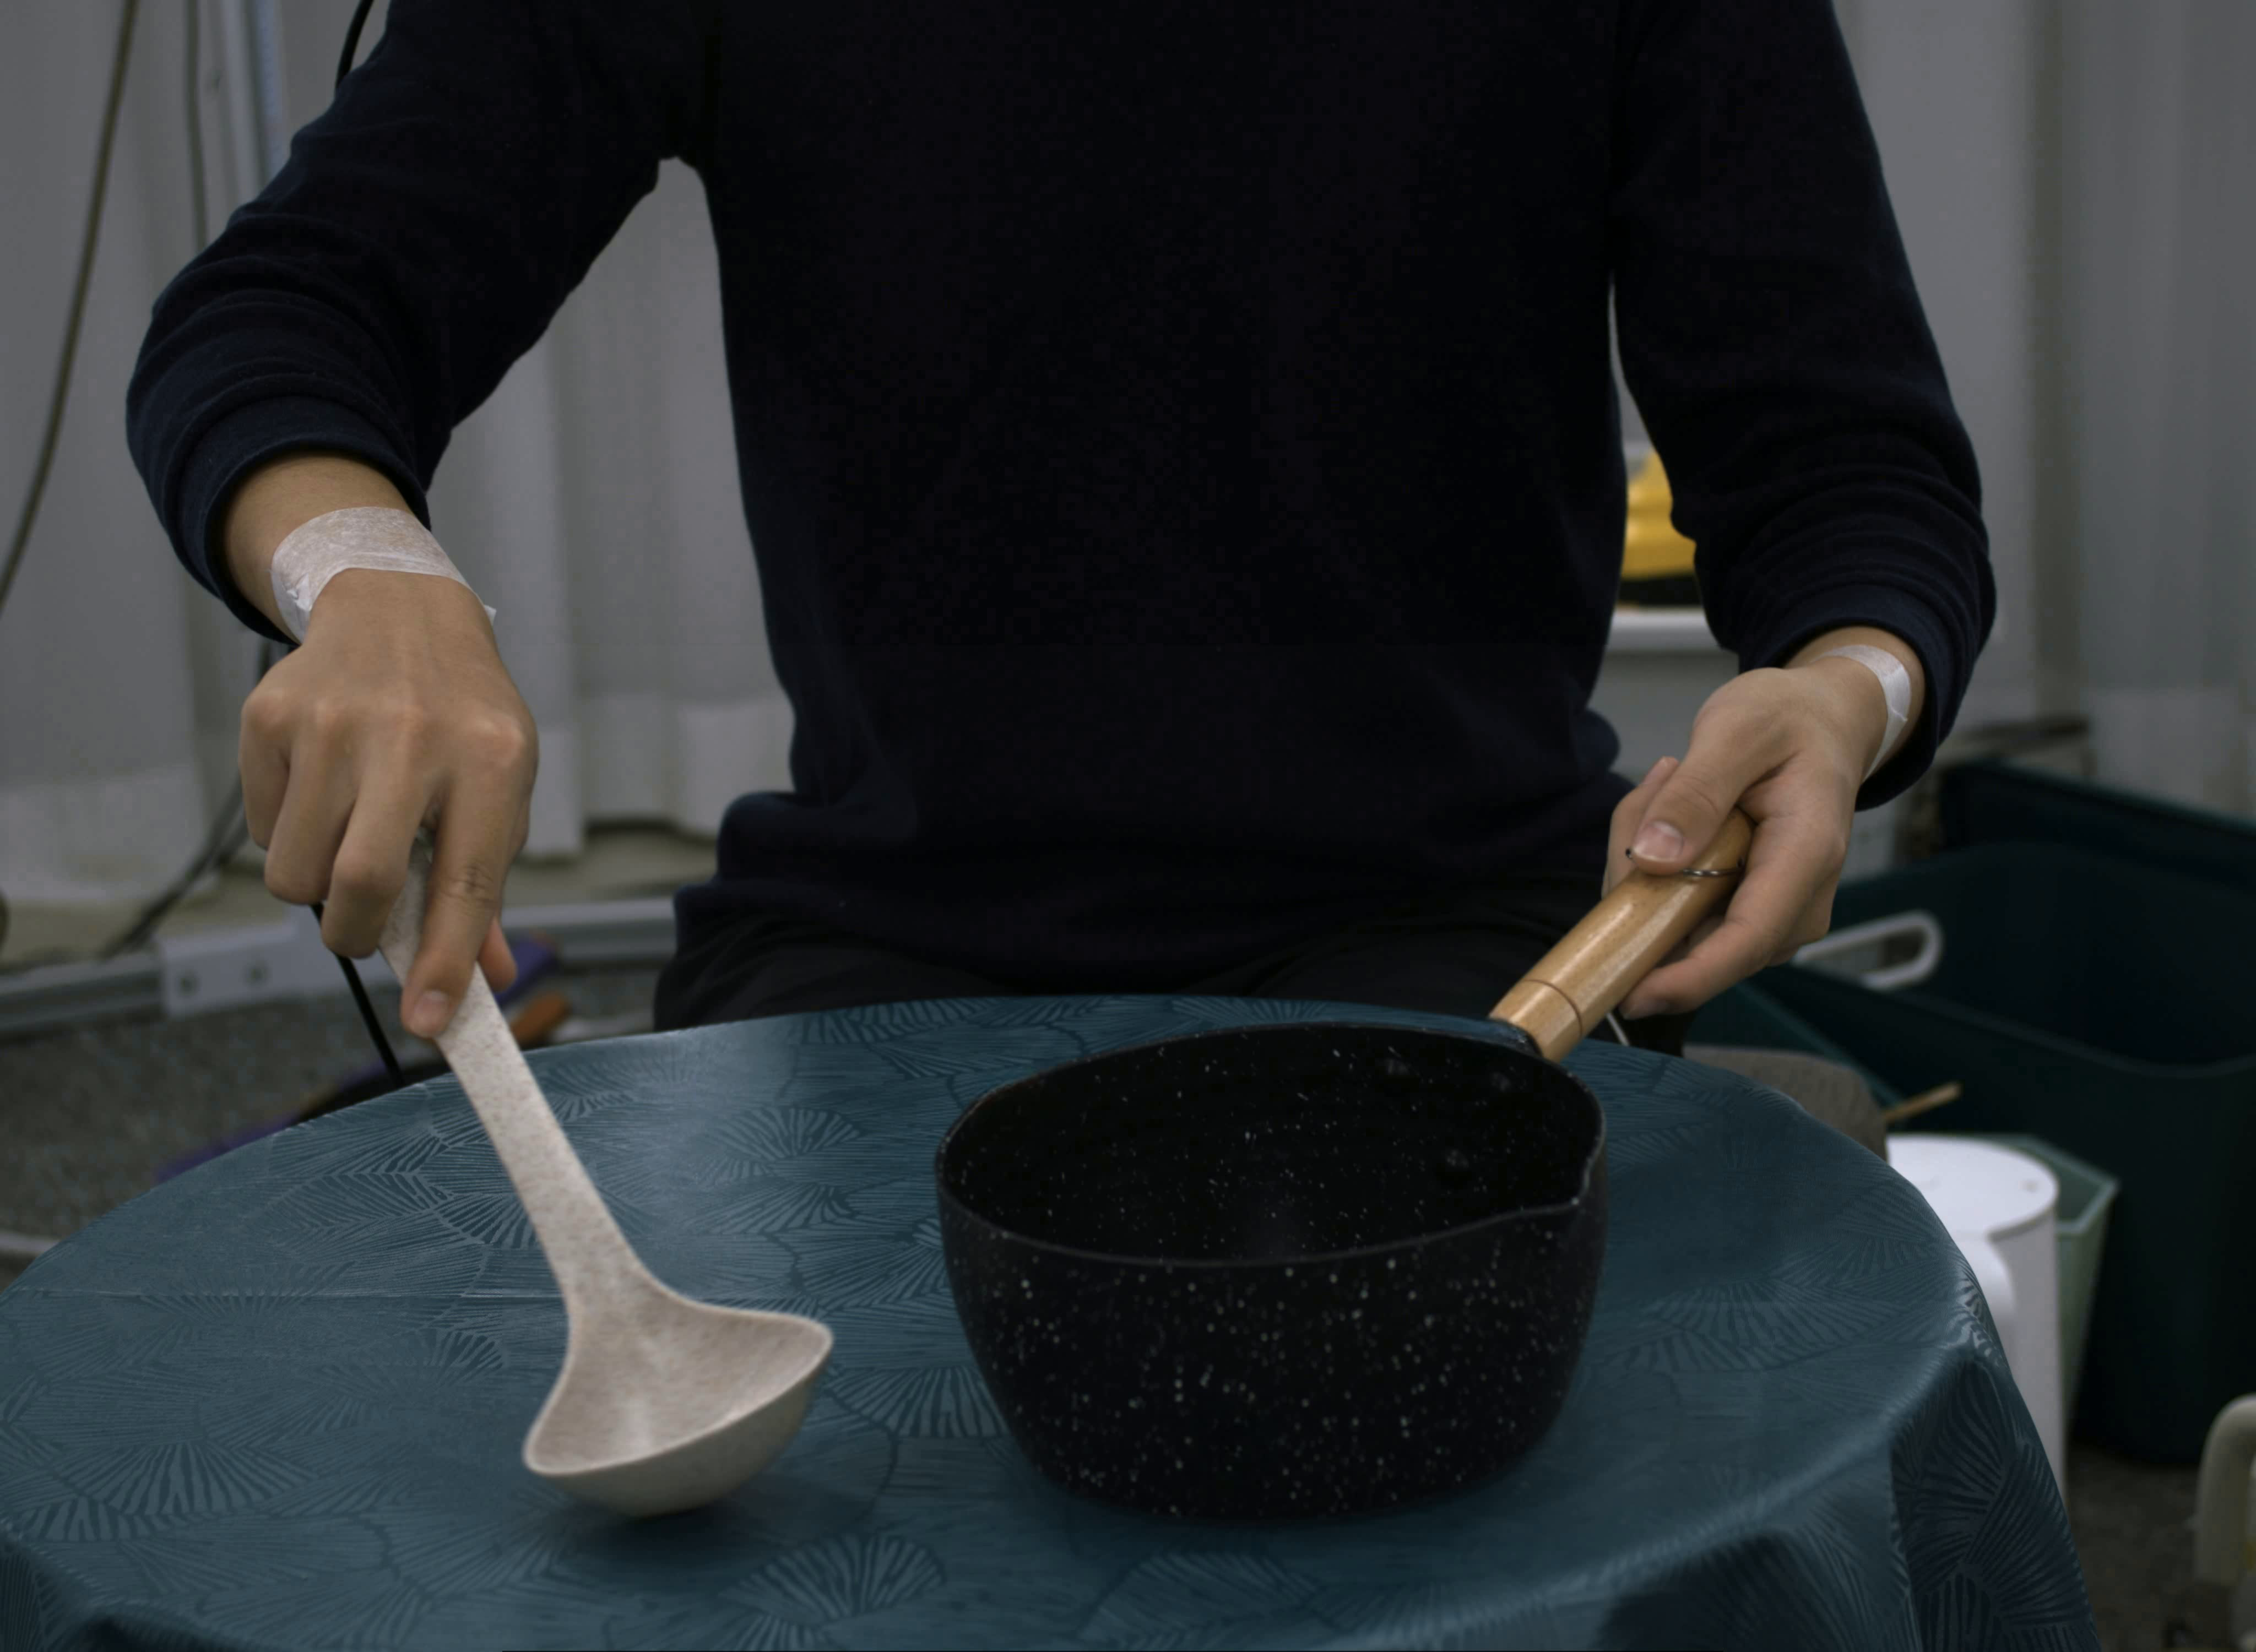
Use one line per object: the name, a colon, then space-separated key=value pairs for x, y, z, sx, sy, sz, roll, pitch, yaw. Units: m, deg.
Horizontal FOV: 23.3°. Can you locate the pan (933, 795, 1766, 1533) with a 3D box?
pan: x=0.087 y=0.091 z=1.557 sx=0.208 sy=0.107 sz=0.343 roll=7 pitch=21 yaw=36

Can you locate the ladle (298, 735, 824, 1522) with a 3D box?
ladle: x=-0.173 y=0.070 z=1.516 sx=0.089 sy=0.278 sz=0.068 roll=-24 pitch=-25 yaw=-13
